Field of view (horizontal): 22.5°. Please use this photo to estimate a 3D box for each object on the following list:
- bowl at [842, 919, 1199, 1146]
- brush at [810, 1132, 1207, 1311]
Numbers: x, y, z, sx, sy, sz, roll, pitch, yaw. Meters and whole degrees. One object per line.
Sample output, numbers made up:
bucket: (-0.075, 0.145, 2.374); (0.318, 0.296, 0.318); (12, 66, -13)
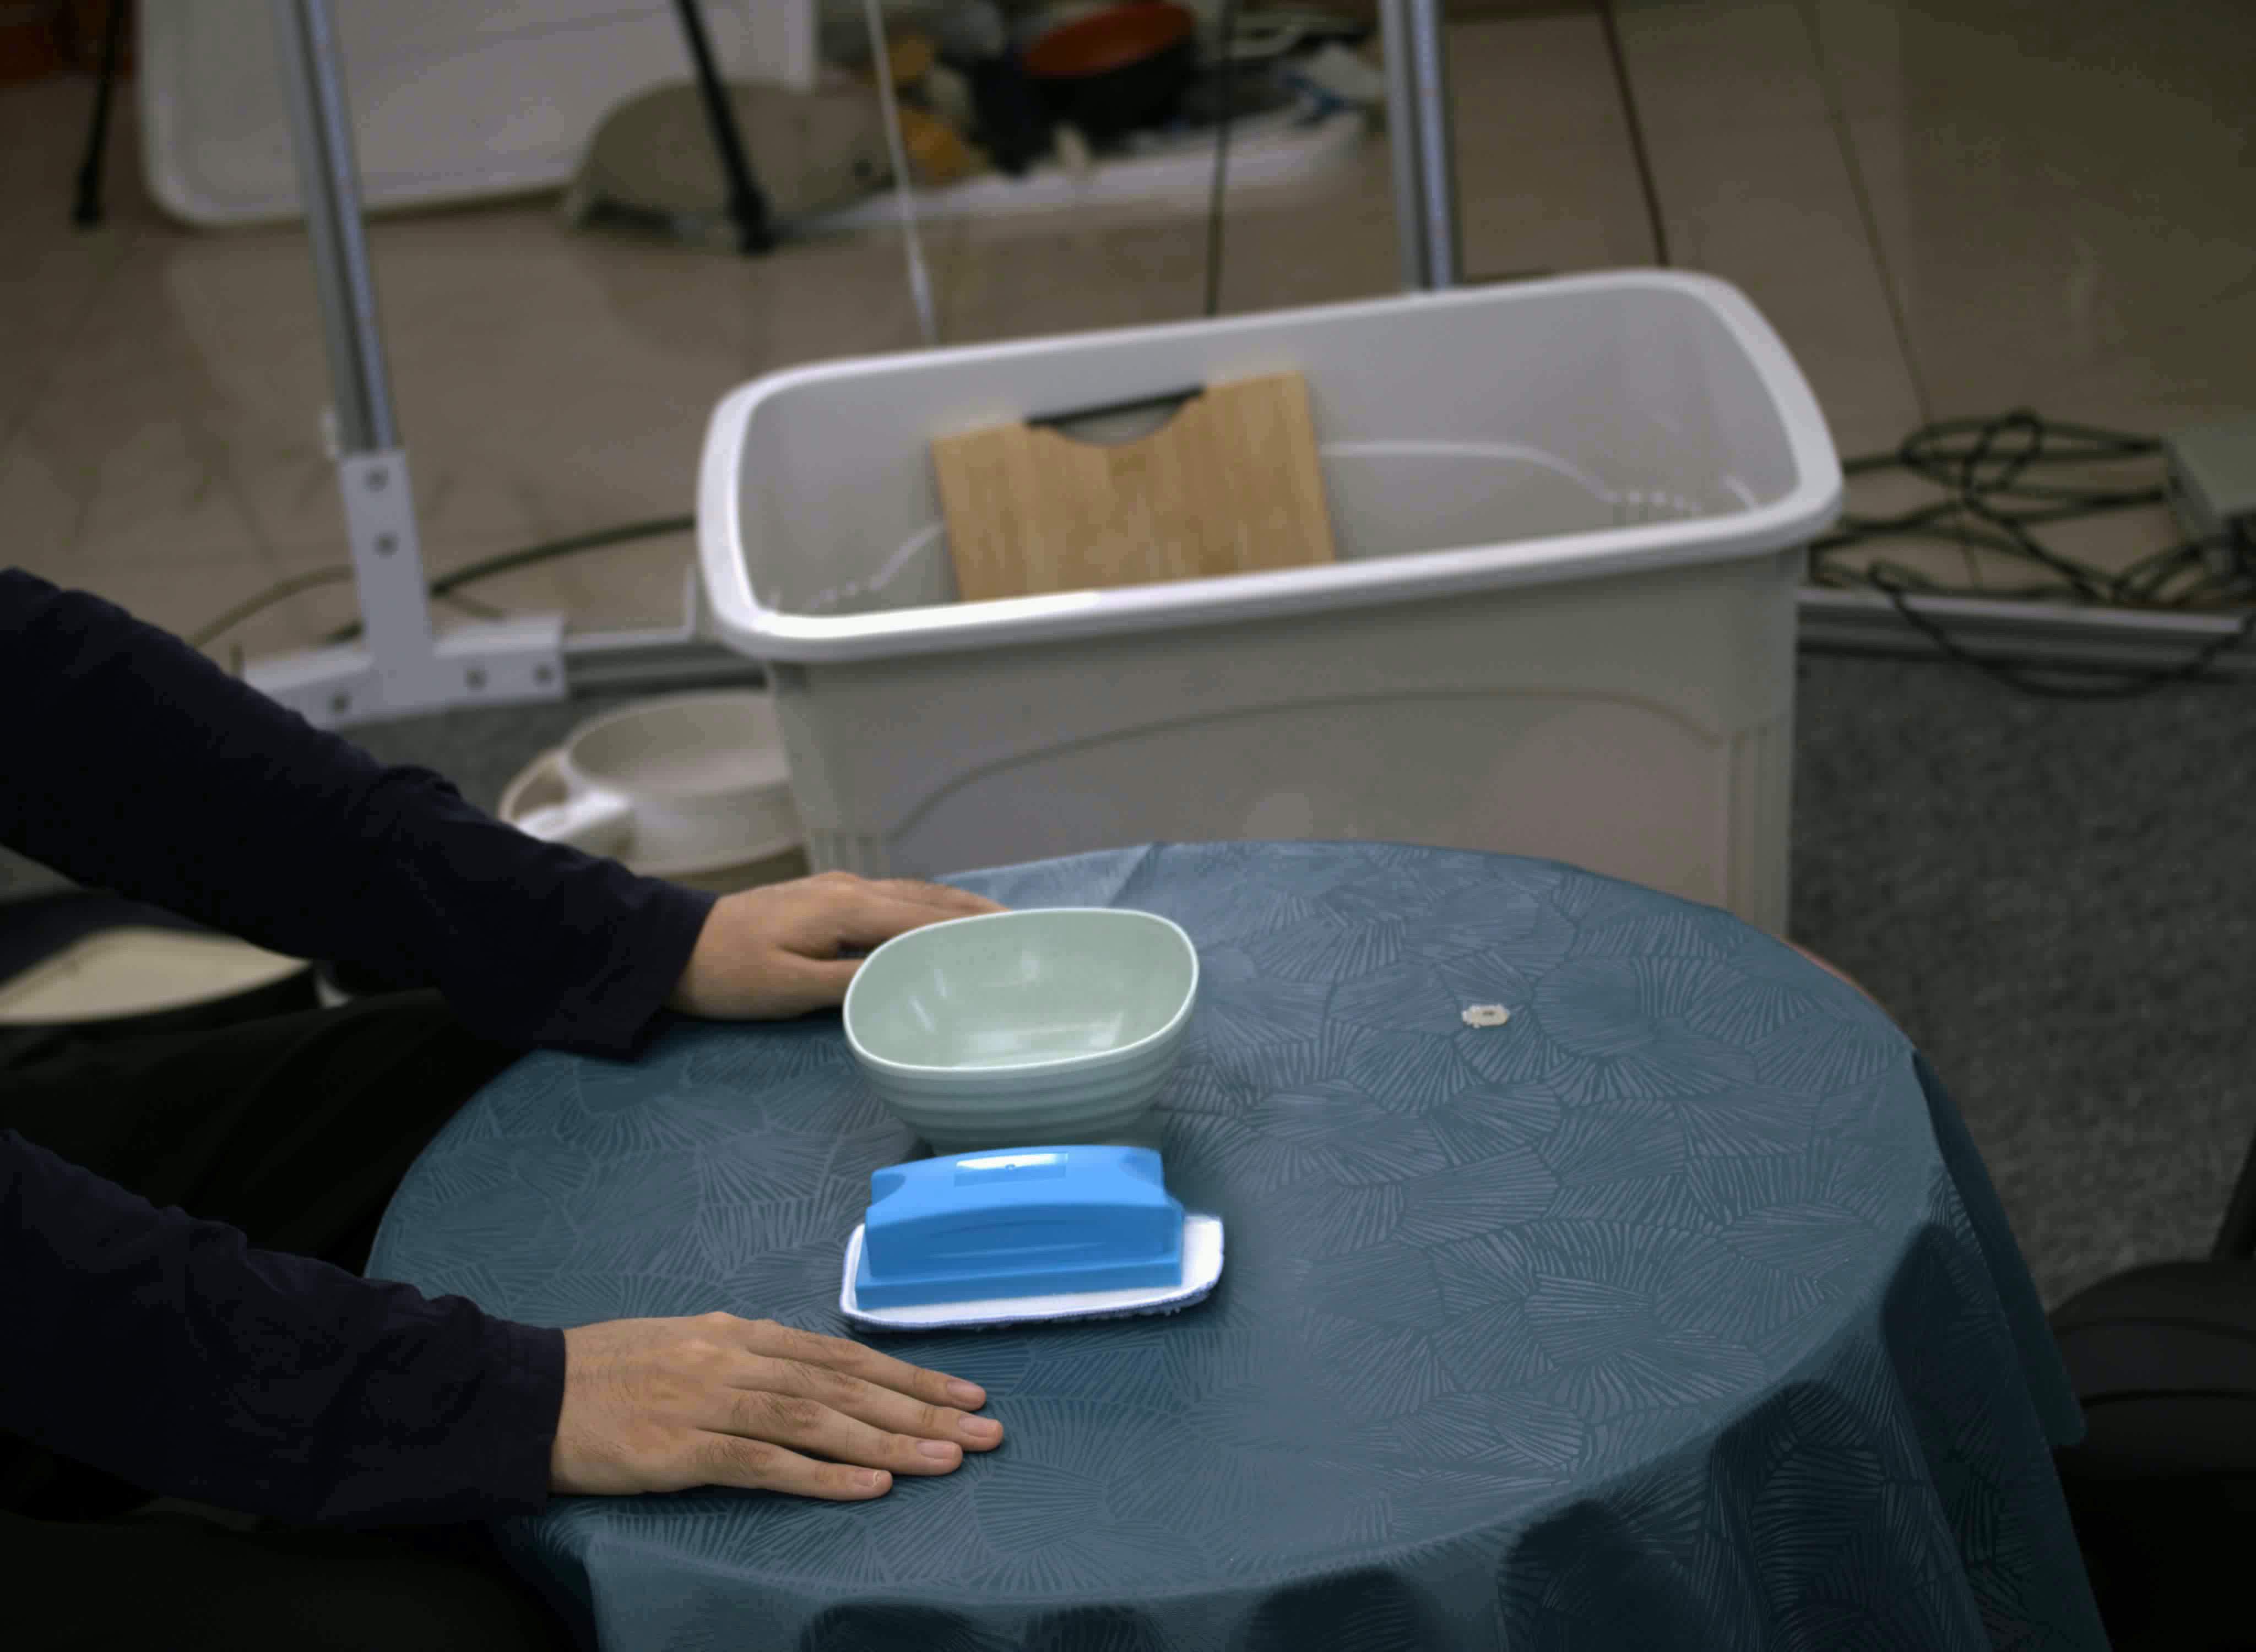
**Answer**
bowl: (-0.039, 0.090, 2.198); (0.151, 0.059, 0.149); (-6, 23, 2)
brush: (-0.044, 0.142, 2.078); (0.144, 0.057, 0.083); (-2, 21, 5)
